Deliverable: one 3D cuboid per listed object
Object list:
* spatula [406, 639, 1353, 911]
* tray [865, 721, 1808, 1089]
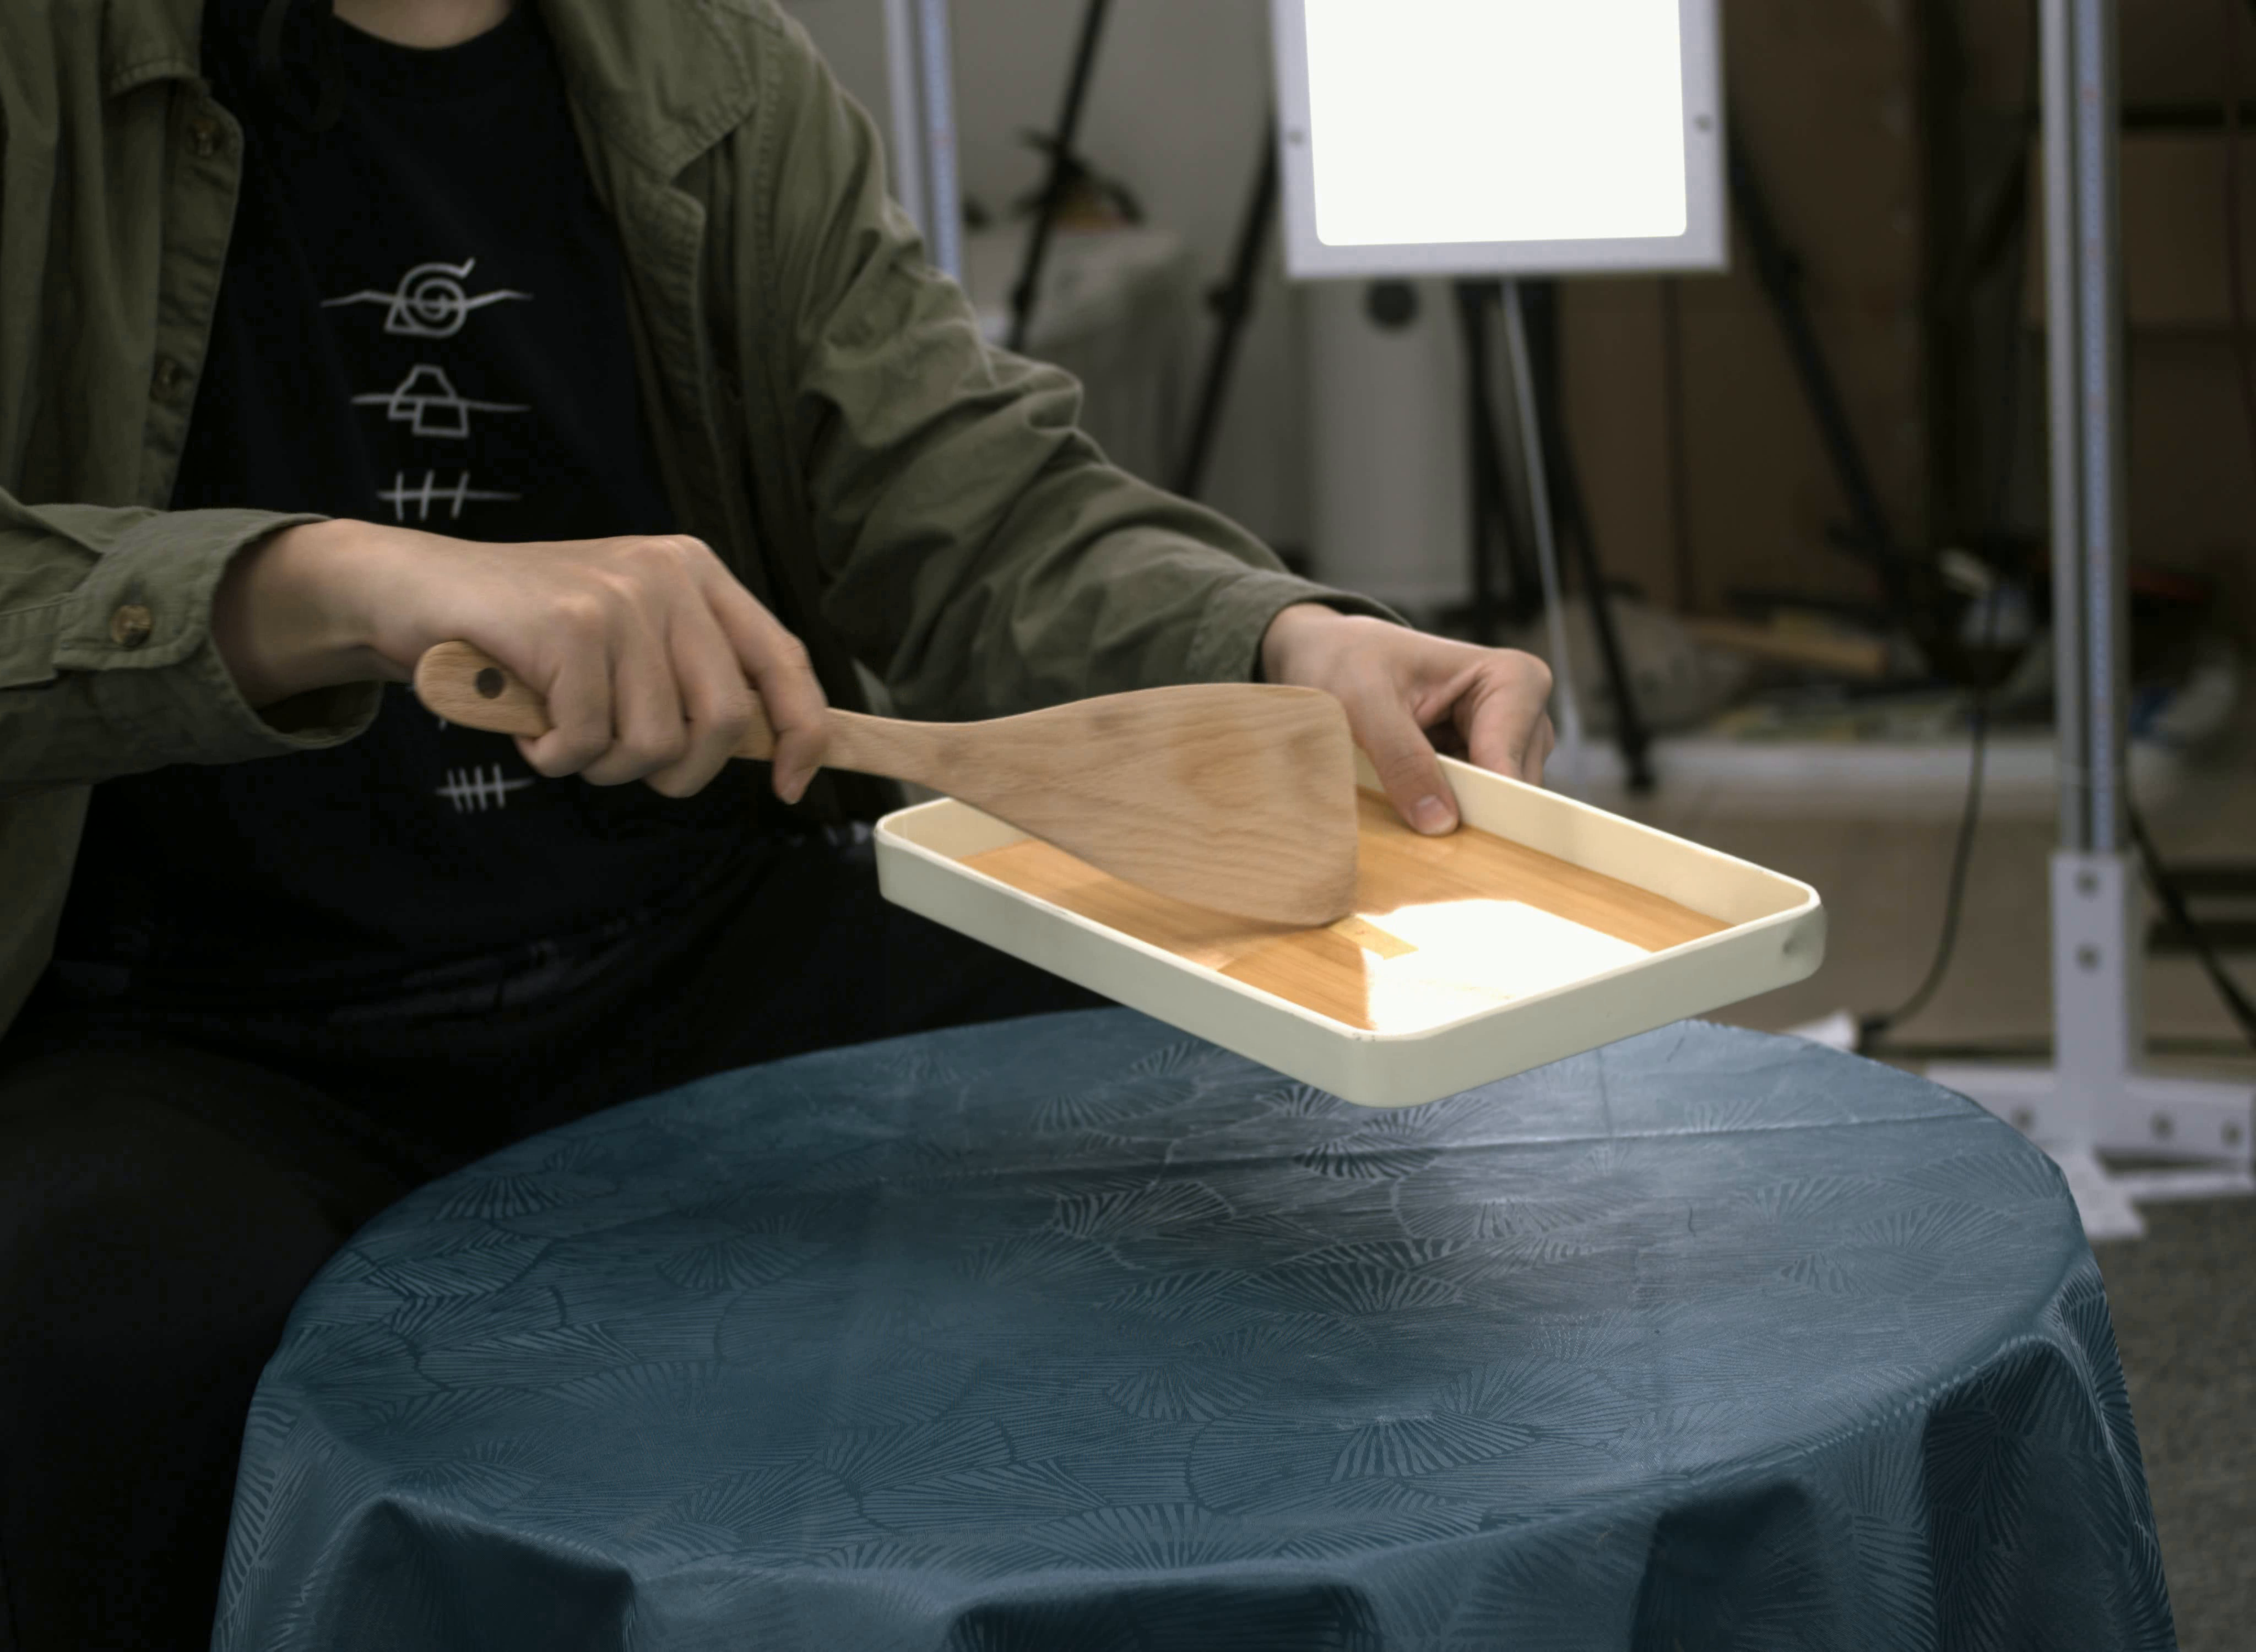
[{"bbox_3d":[-0.074,-0.029,1.770,0.321,0.080,0.017,7,-4,-21],"label":"spatula"},{"bbox_3d":[0.065,0.020,1.834,0.187,0.027,0.306,-15,20,-30],"label":"tray"}]
